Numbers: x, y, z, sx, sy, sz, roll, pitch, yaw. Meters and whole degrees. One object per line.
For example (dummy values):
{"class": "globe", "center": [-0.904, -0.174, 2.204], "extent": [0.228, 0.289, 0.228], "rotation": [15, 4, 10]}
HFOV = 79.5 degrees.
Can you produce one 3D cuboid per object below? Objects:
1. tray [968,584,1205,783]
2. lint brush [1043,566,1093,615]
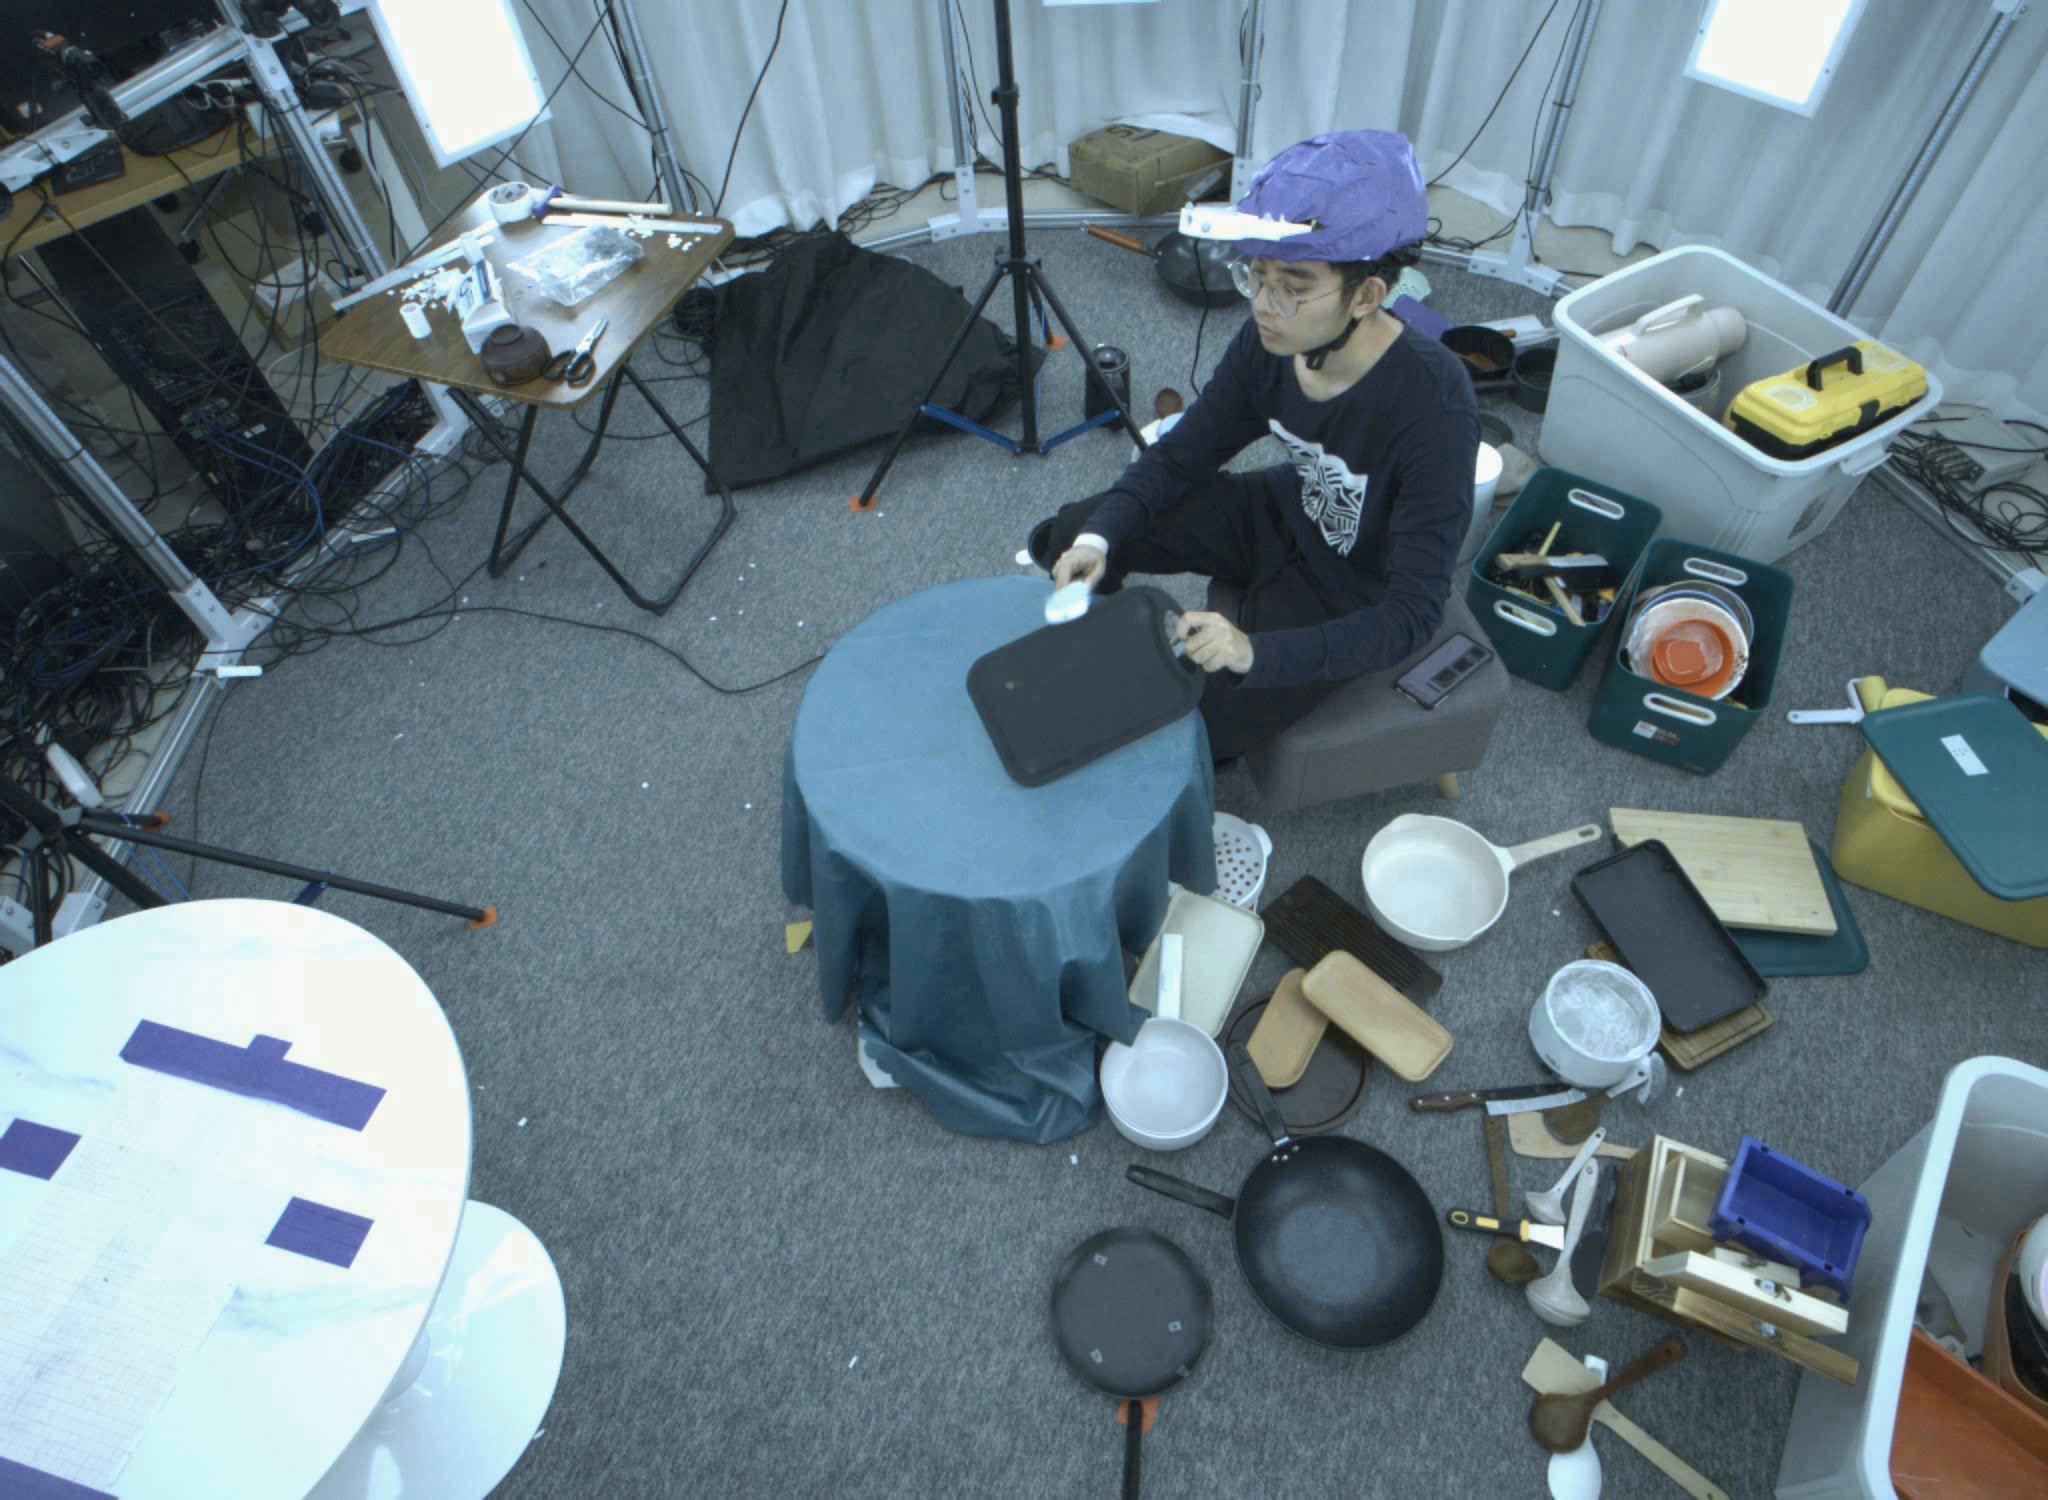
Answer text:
{"class": "tray", "center": [0.096, -0.095, 1.723], "extent": [0.326, 0.214, 0.009], "rotation": [-25, 21, -2]}
{"class": "lint brush", "center": [0.070, -0.232, 1.762], "extent": [0.059, 0.021, 0.308], "rotation": [-16, 14, 12]}
